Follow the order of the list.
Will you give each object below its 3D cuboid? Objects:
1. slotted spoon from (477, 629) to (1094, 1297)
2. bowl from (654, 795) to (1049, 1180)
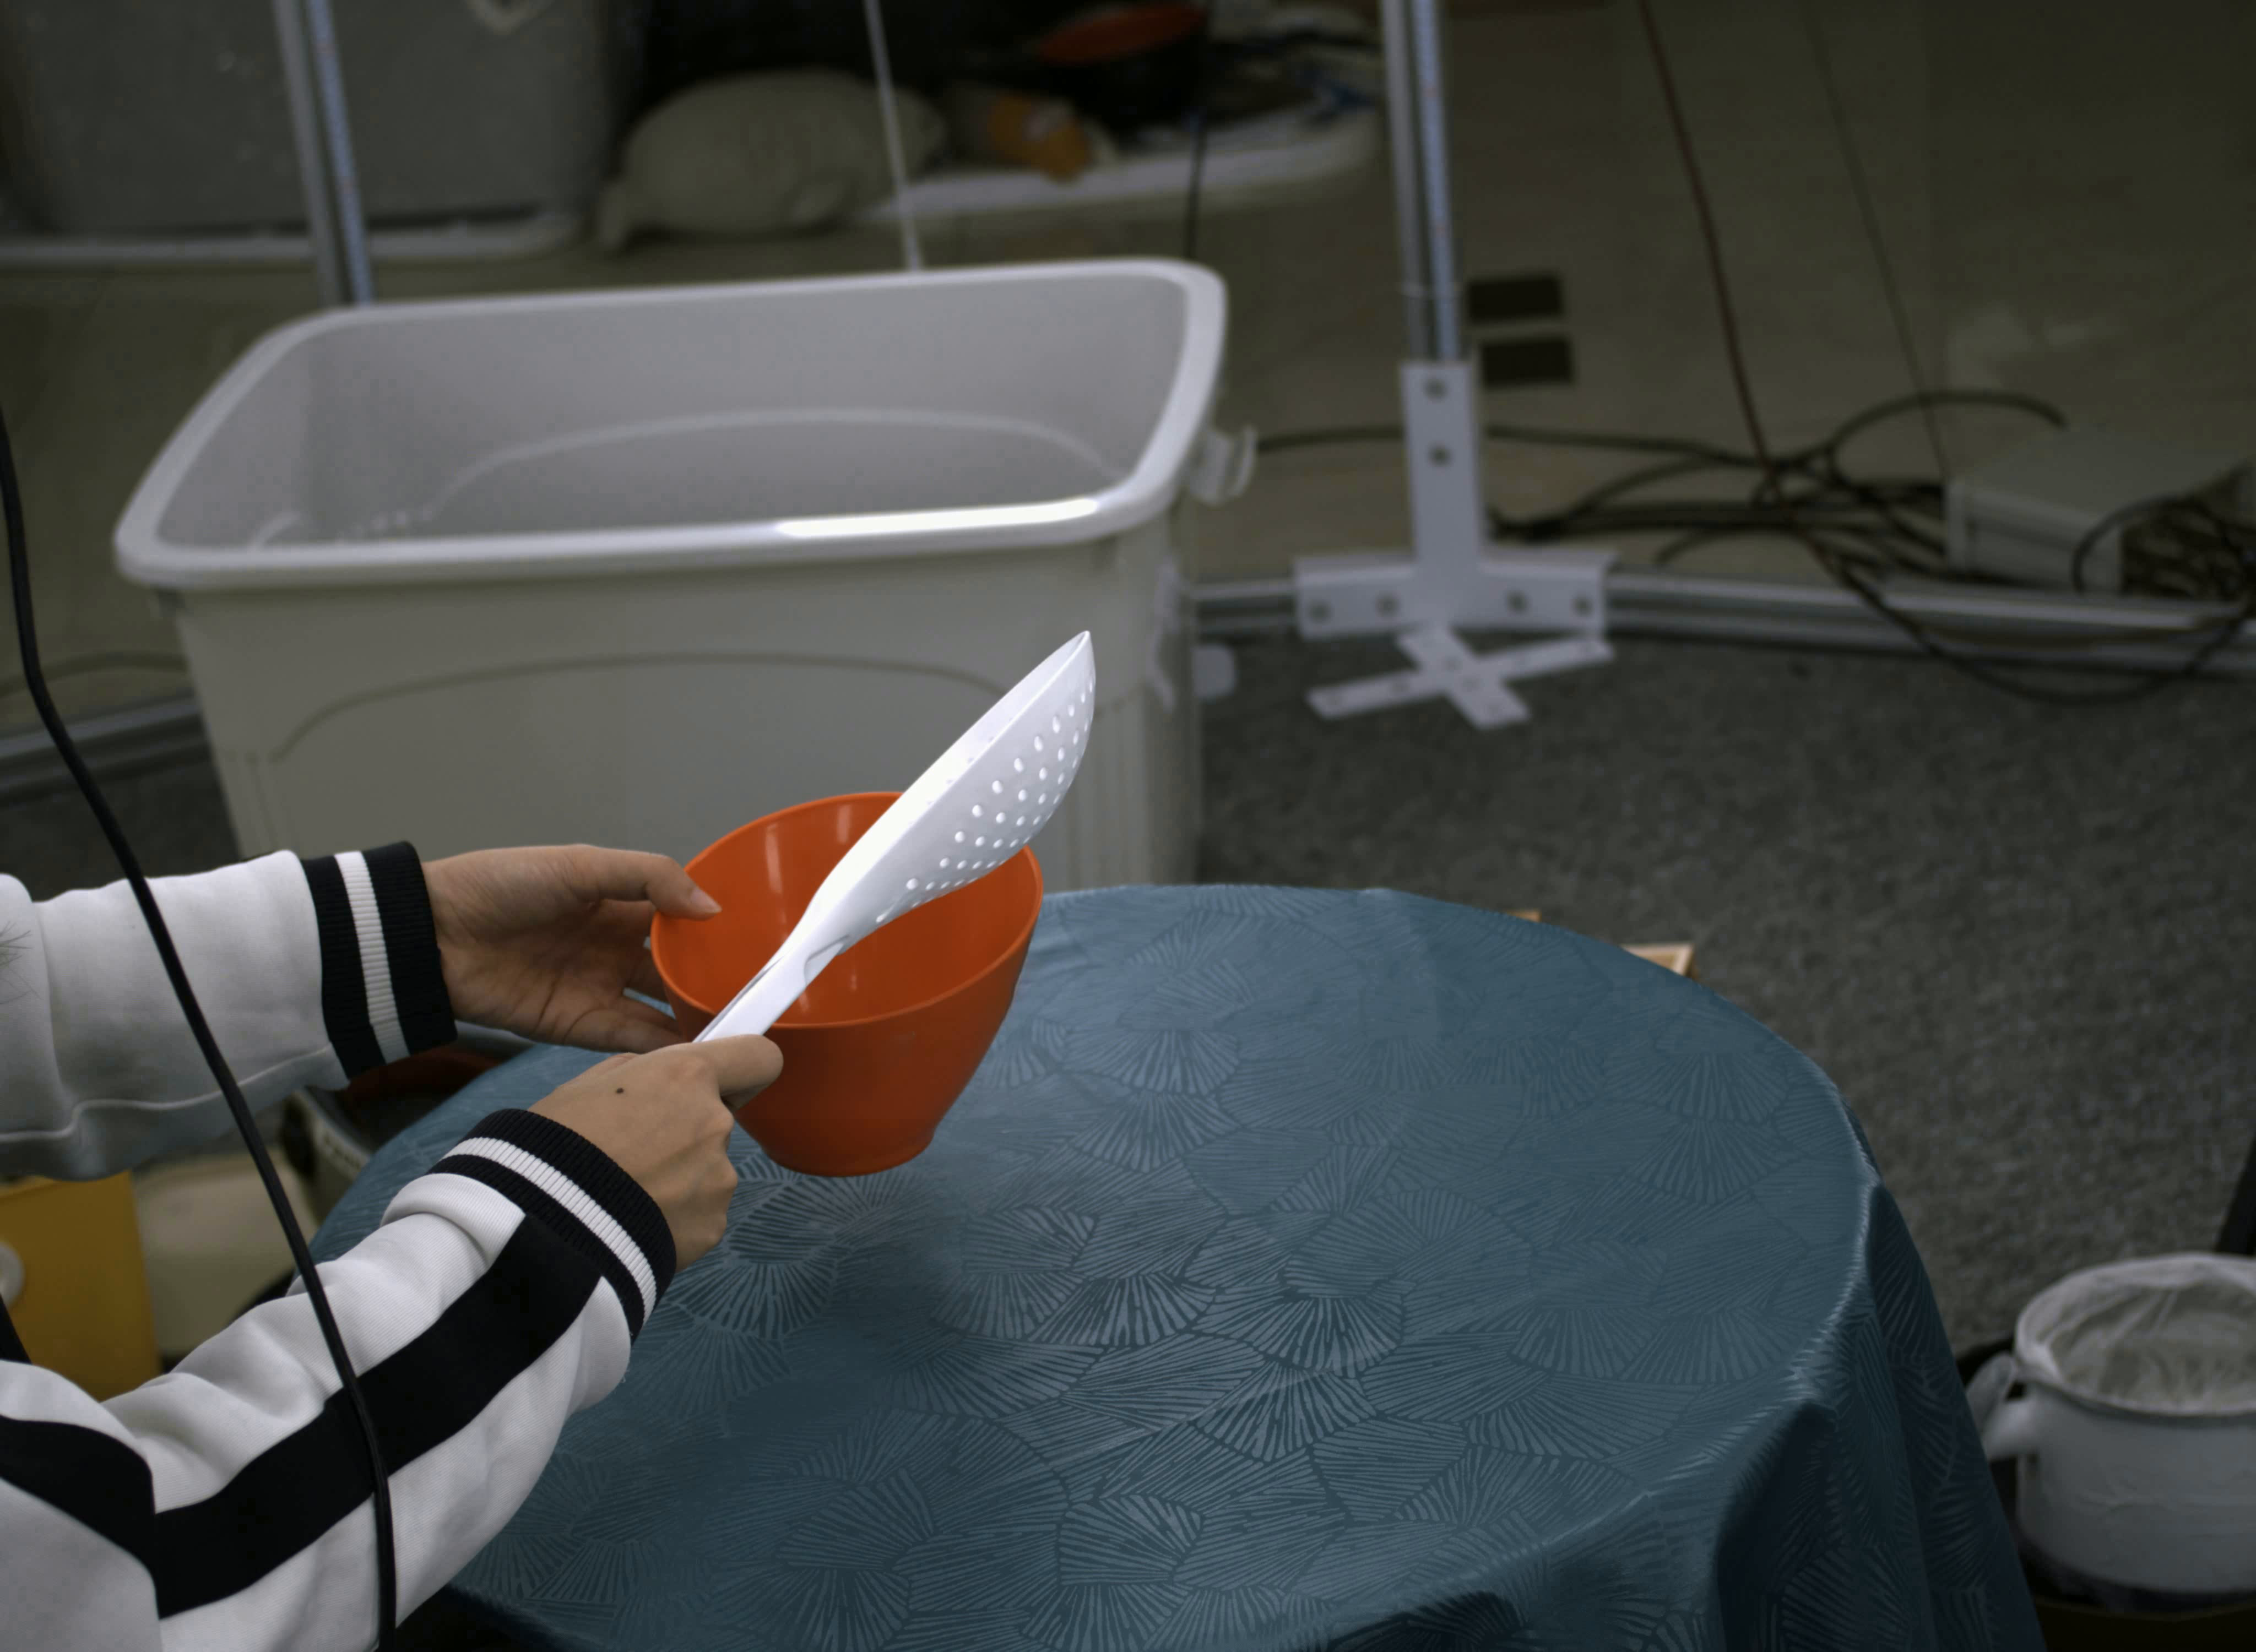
[{"bbox_3d":[-0.115,0.046,1.974,0.345,0.046,0.137,-42,2,-37],"label":"slotted spoon"},{"bbox_3d":[-0.103,0.067,2.126,0.148,0.106,0.145,-1,28,0],"label":"bowl"}]
